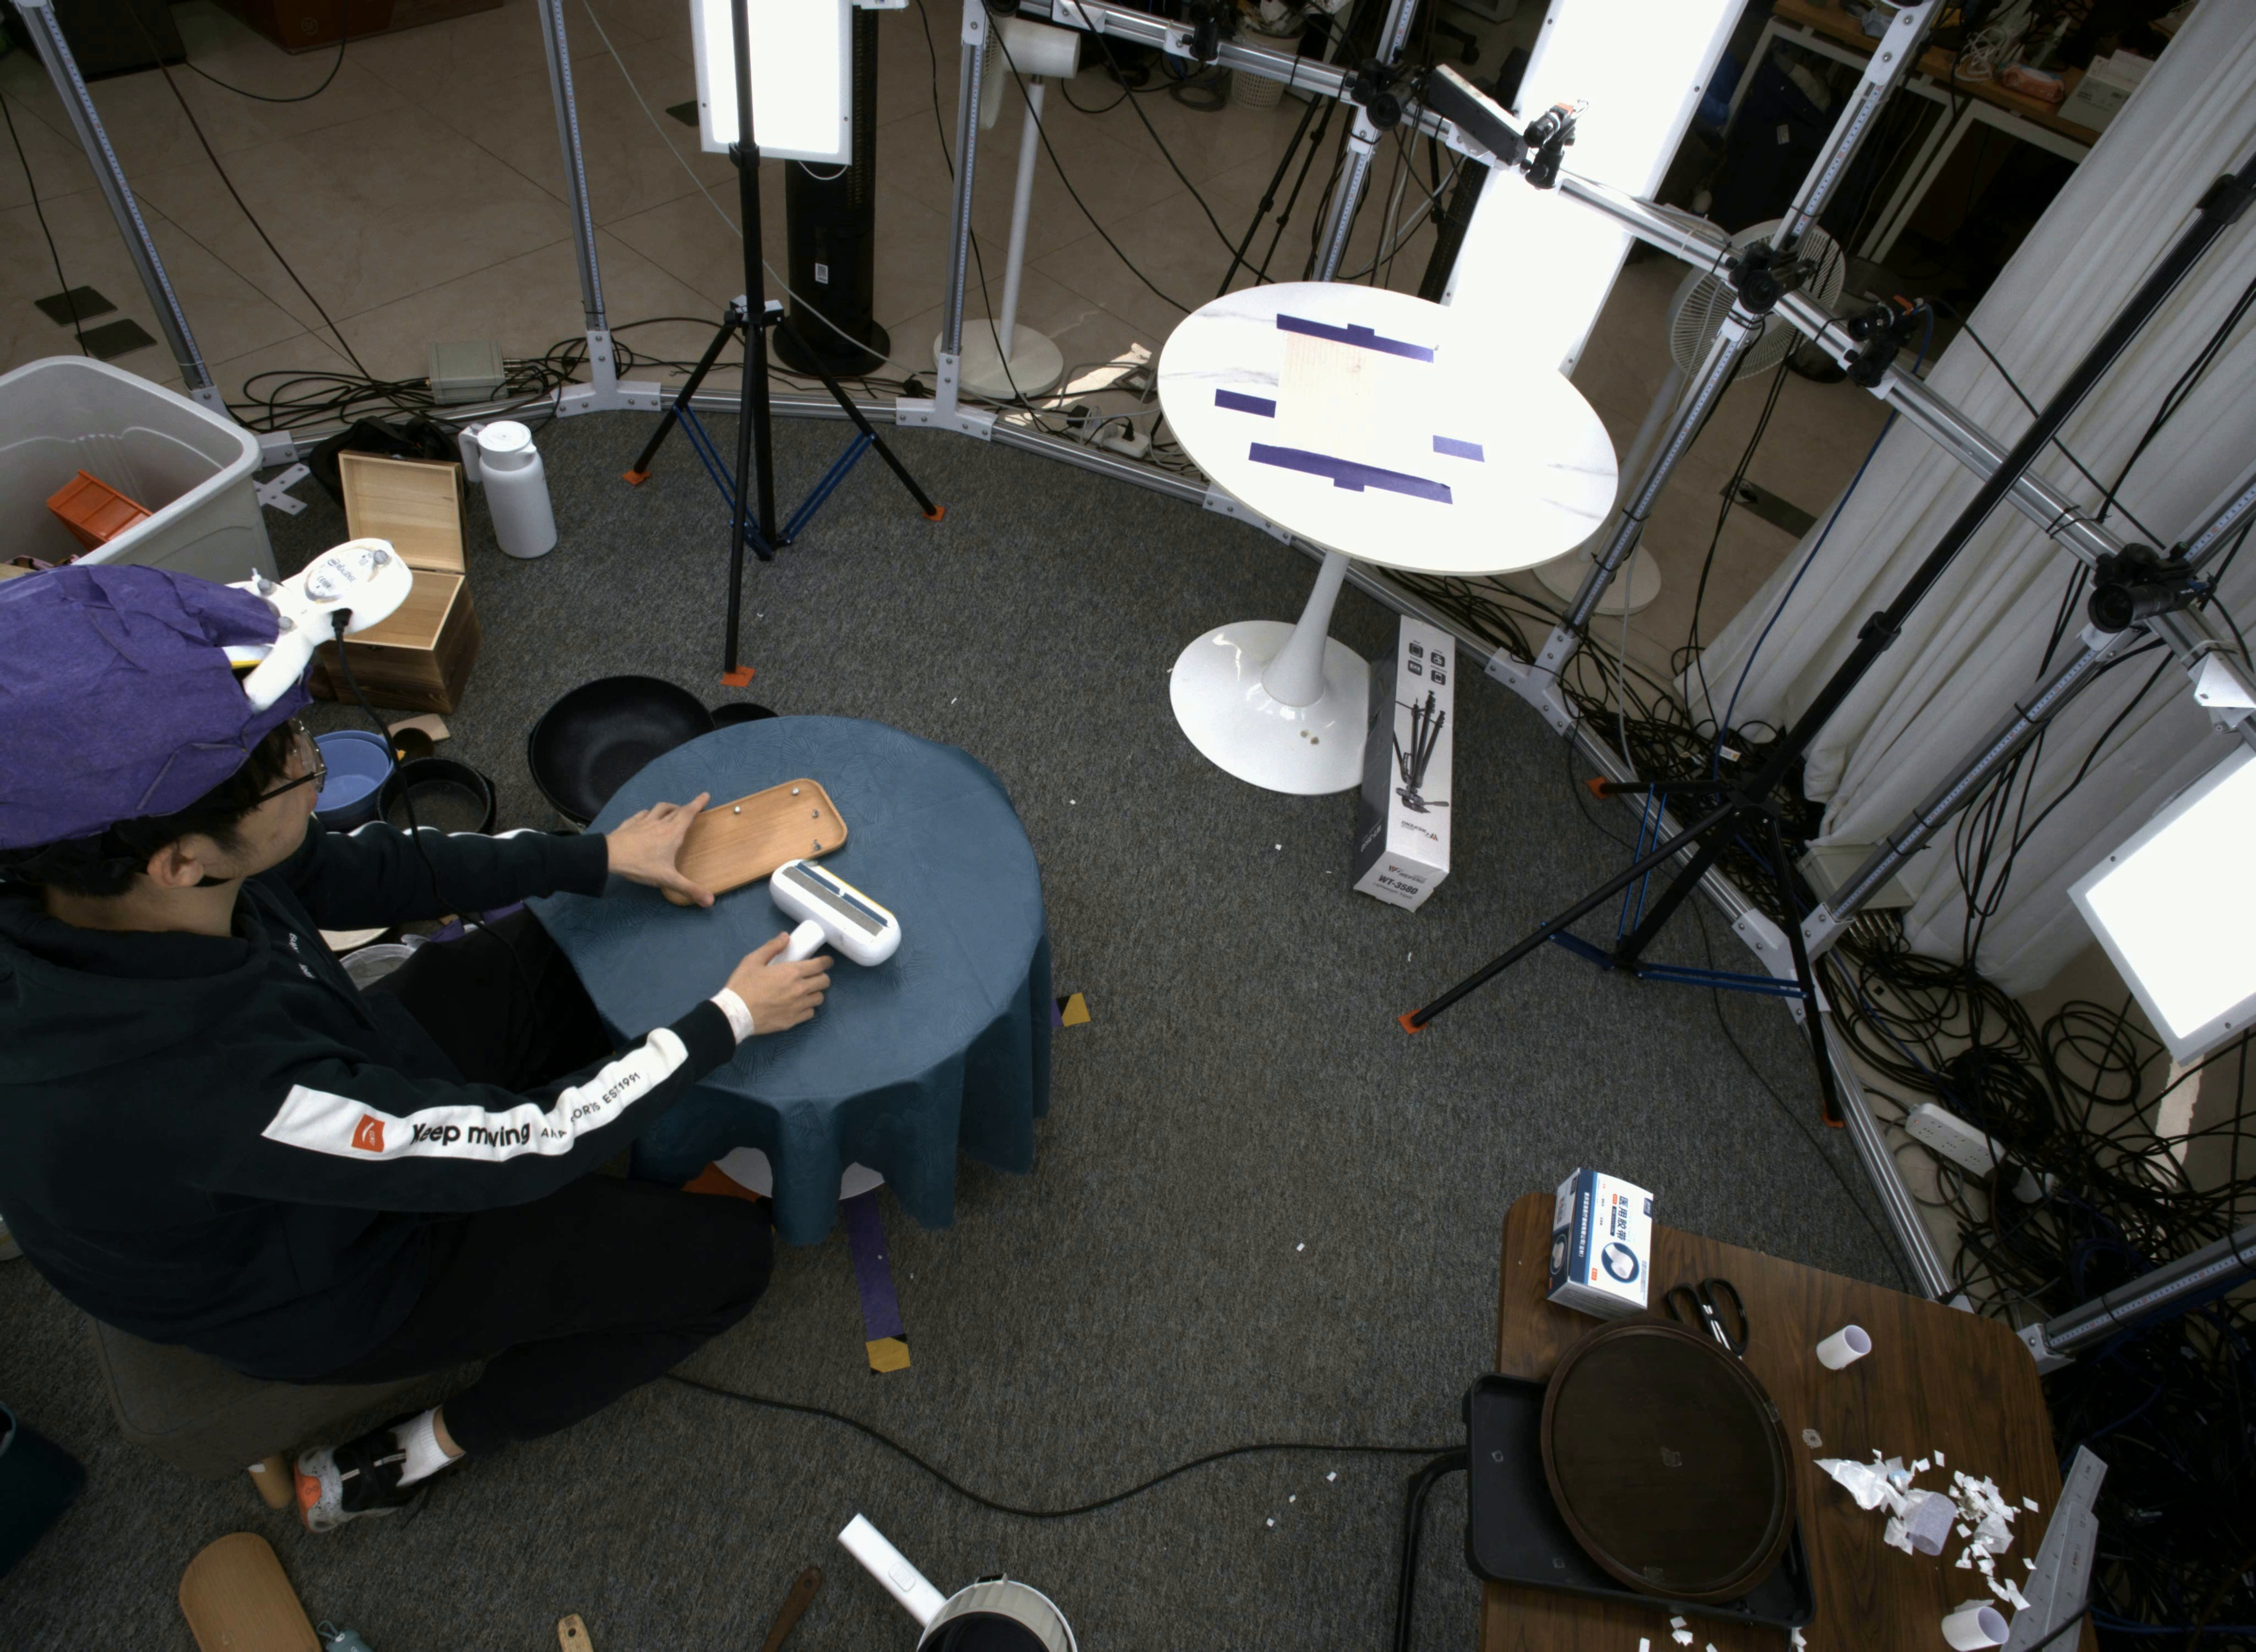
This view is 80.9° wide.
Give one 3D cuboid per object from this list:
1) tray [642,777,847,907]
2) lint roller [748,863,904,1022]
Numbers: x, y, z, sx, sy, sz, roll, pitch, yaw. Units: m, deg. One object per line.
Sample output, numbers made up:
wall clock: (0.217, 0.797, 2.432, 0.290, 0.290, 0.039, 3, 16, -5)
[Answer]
tray: (-0.499, 0.018, 1.686, 0.252, 0.023, 0.127, -22, 61, -27)
lint roller: (-0.397, 0.155, 1.603, 0.187, 0.076, 0.192, 36, 68, 22)
